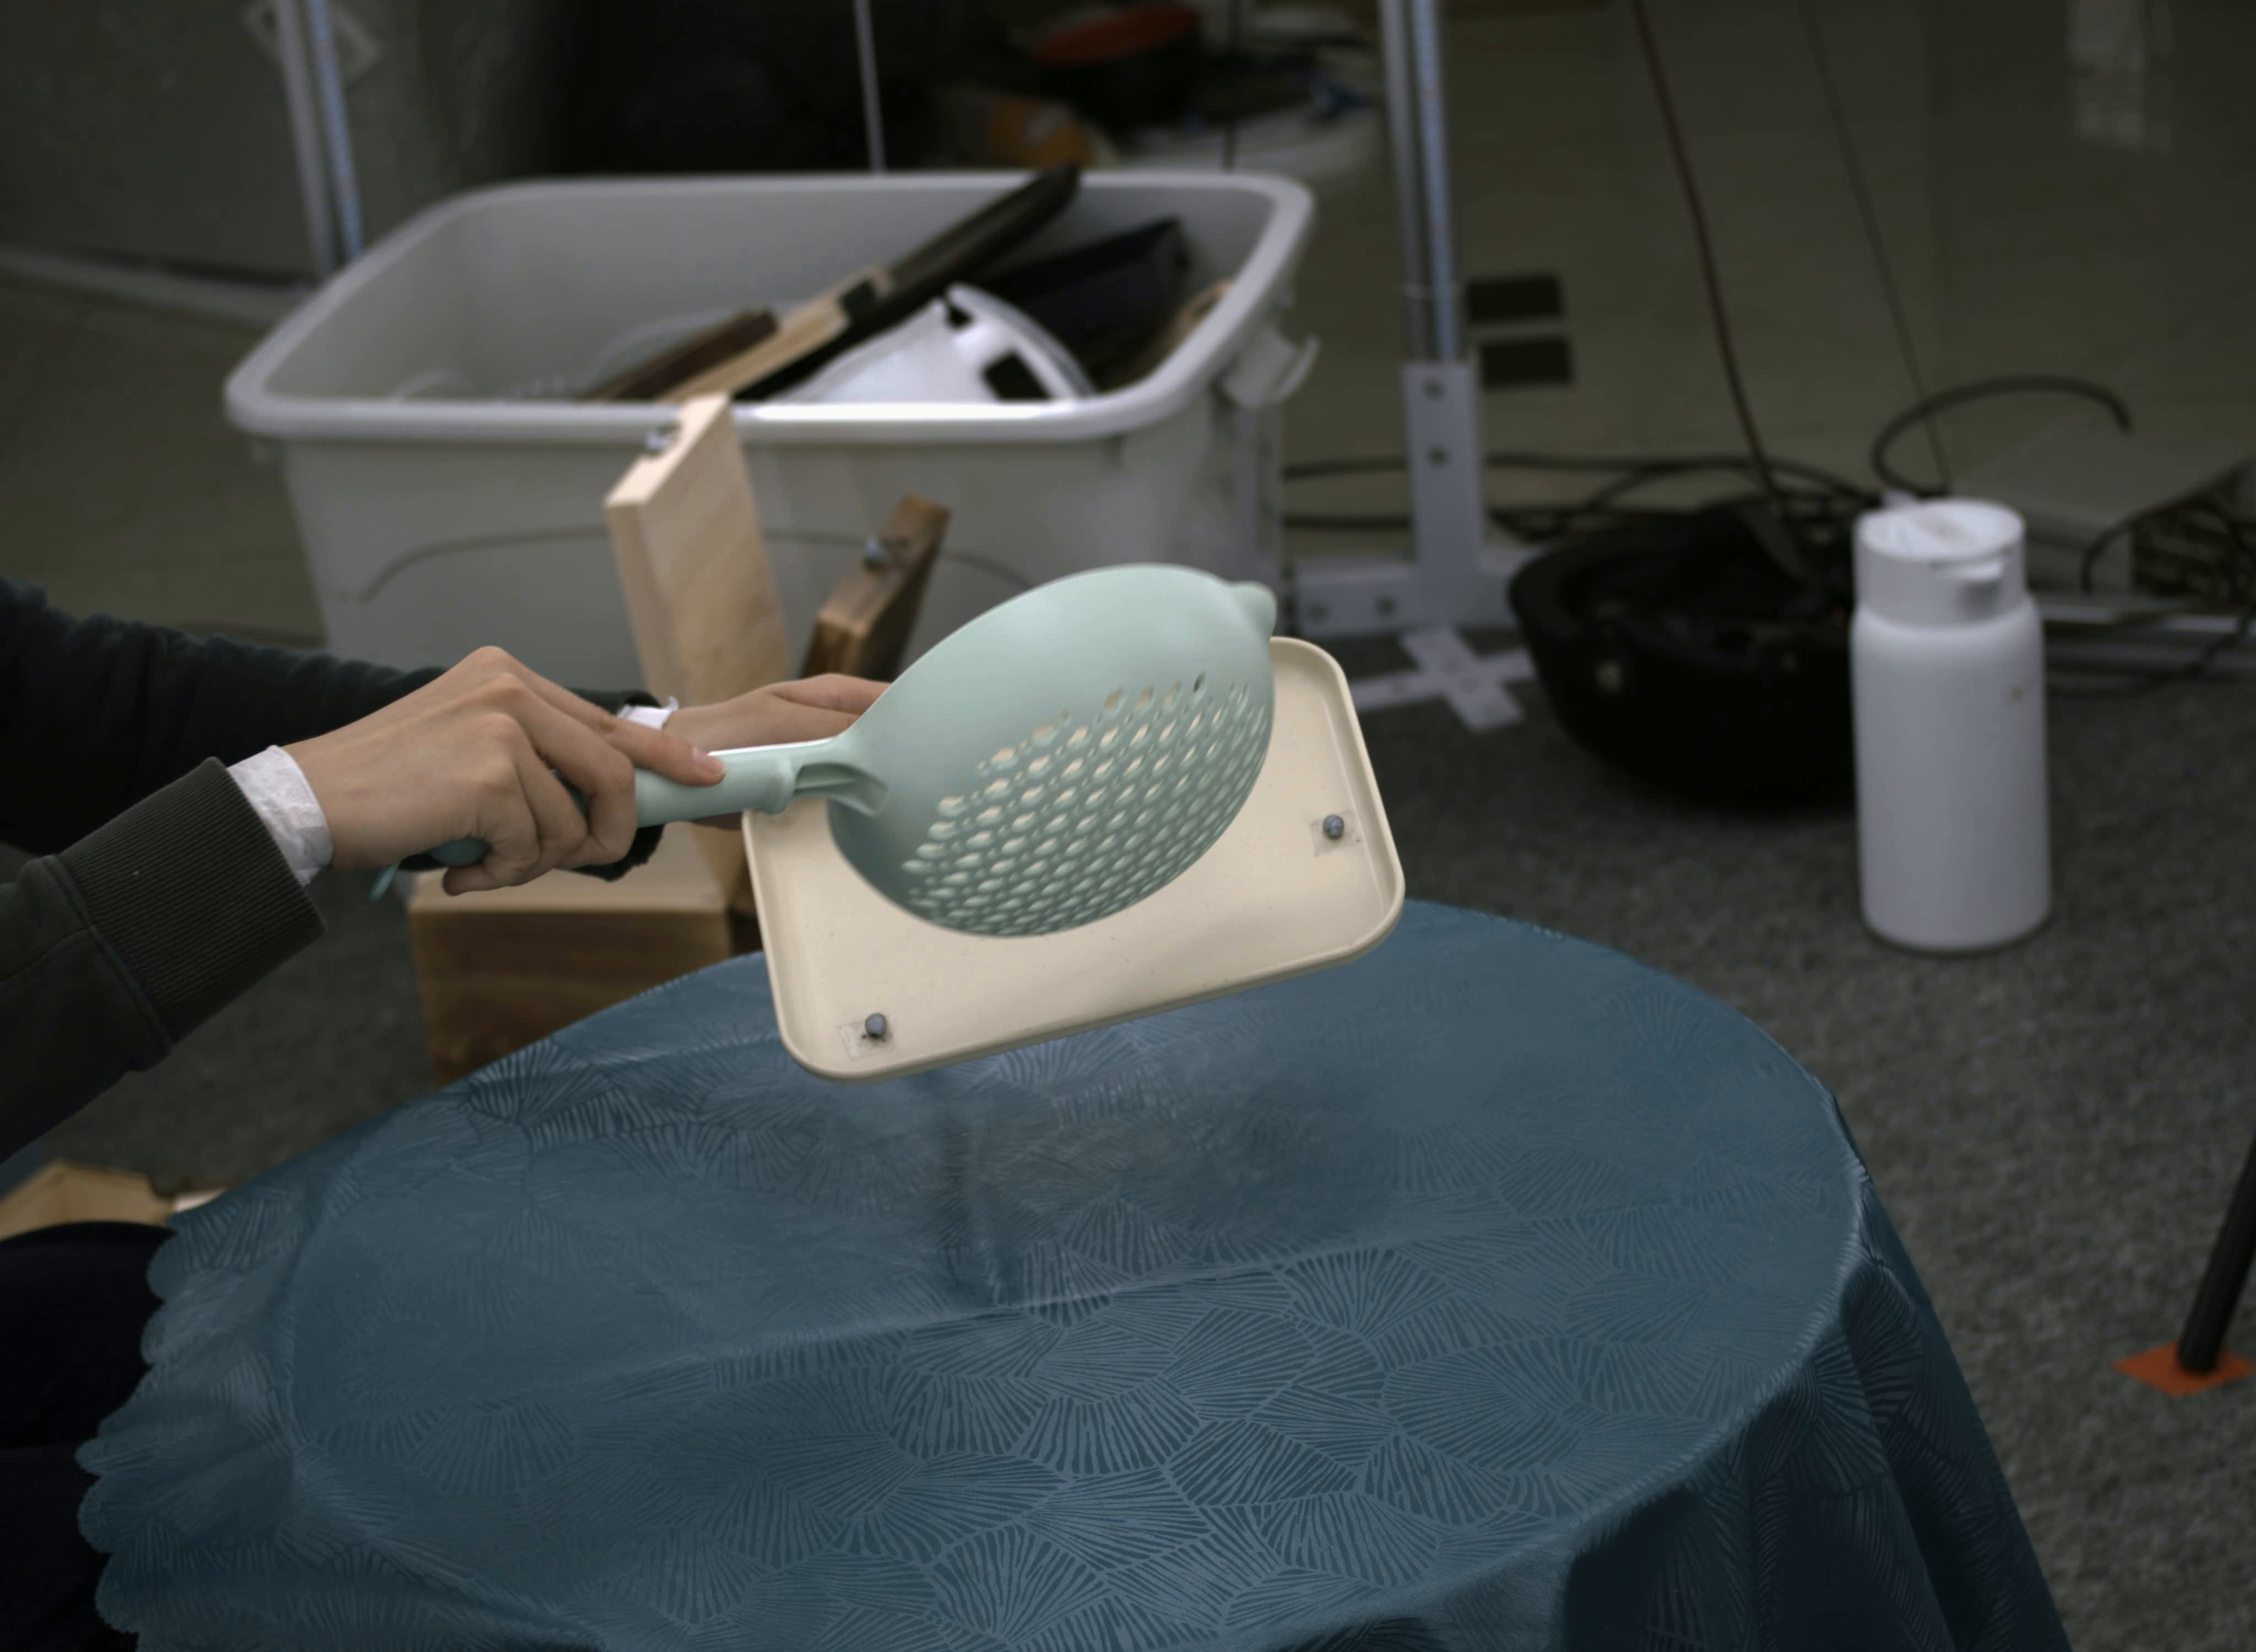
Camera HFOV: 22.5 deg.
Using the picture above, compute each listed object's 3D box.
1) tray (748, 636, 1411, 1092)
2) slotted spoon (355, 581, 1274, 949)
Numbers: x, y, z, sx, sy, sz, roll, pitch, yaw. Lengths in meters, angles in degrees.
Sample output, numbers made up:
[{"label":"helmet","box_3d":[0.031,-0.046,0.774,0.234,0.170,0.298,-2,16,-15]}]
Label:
[{"label":"tray","box_3d":[-0.020,0.015,2.137,0.239,0.018,0.168,-15,47,1]},{"label":"slotted spoon","box_3d":[-0.104,-0.011,1.942,0.358,0.172,0.074,1,48,-29]}]
